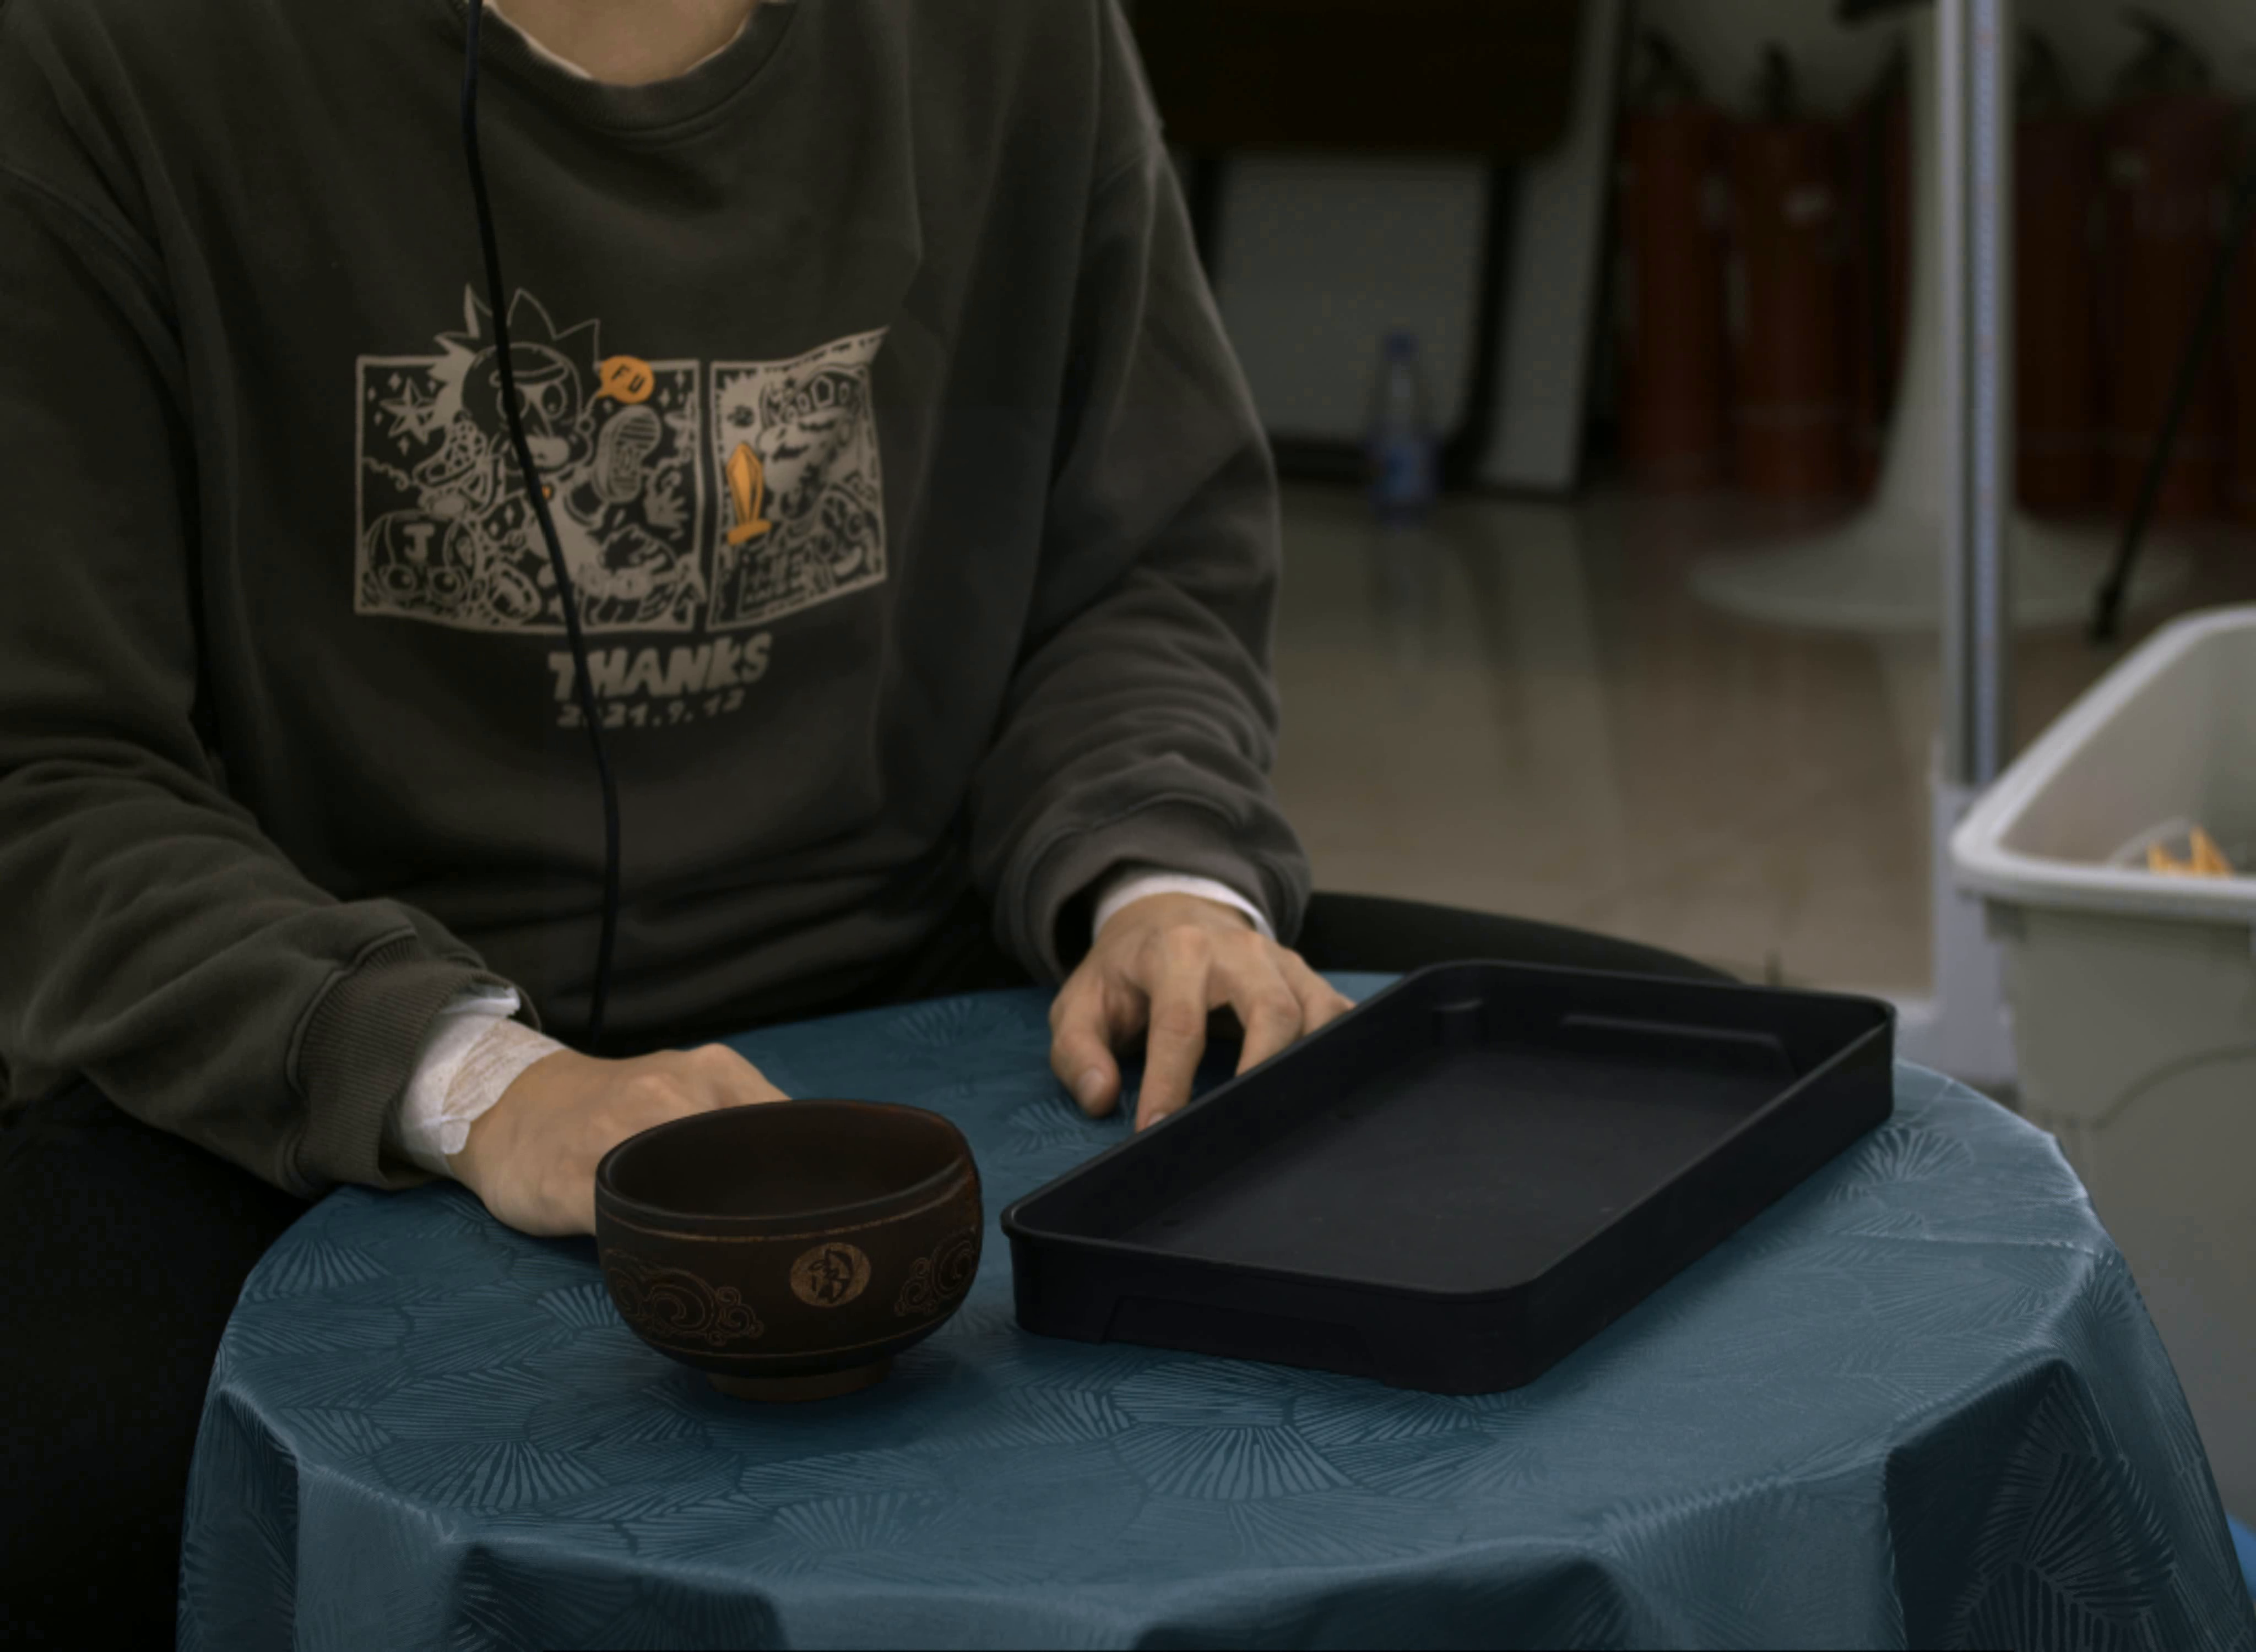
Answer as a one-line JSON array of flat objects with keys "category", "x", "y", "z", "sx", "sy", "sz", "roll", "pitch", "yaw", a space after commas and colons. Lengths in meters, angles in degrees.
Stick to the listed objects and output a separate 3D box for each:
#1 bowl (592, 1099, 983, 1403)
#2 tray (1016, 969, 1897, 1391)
[{"category": "bowl", "x": -0.100, "y": 0.130, "z": 1.616, "sx": 0.116, "sy": 0.070, "sz": 0.118, "roll": -5, "pitch": 12, "yaw": 0}, {"category": "tray", "x": 0.113, "y": 0.107, "z": 1.727, "sx": 0.185, "sy": 0.037, "sz": 0.313, "roll": 3, "pitch": 15, "yaw": 29}]
